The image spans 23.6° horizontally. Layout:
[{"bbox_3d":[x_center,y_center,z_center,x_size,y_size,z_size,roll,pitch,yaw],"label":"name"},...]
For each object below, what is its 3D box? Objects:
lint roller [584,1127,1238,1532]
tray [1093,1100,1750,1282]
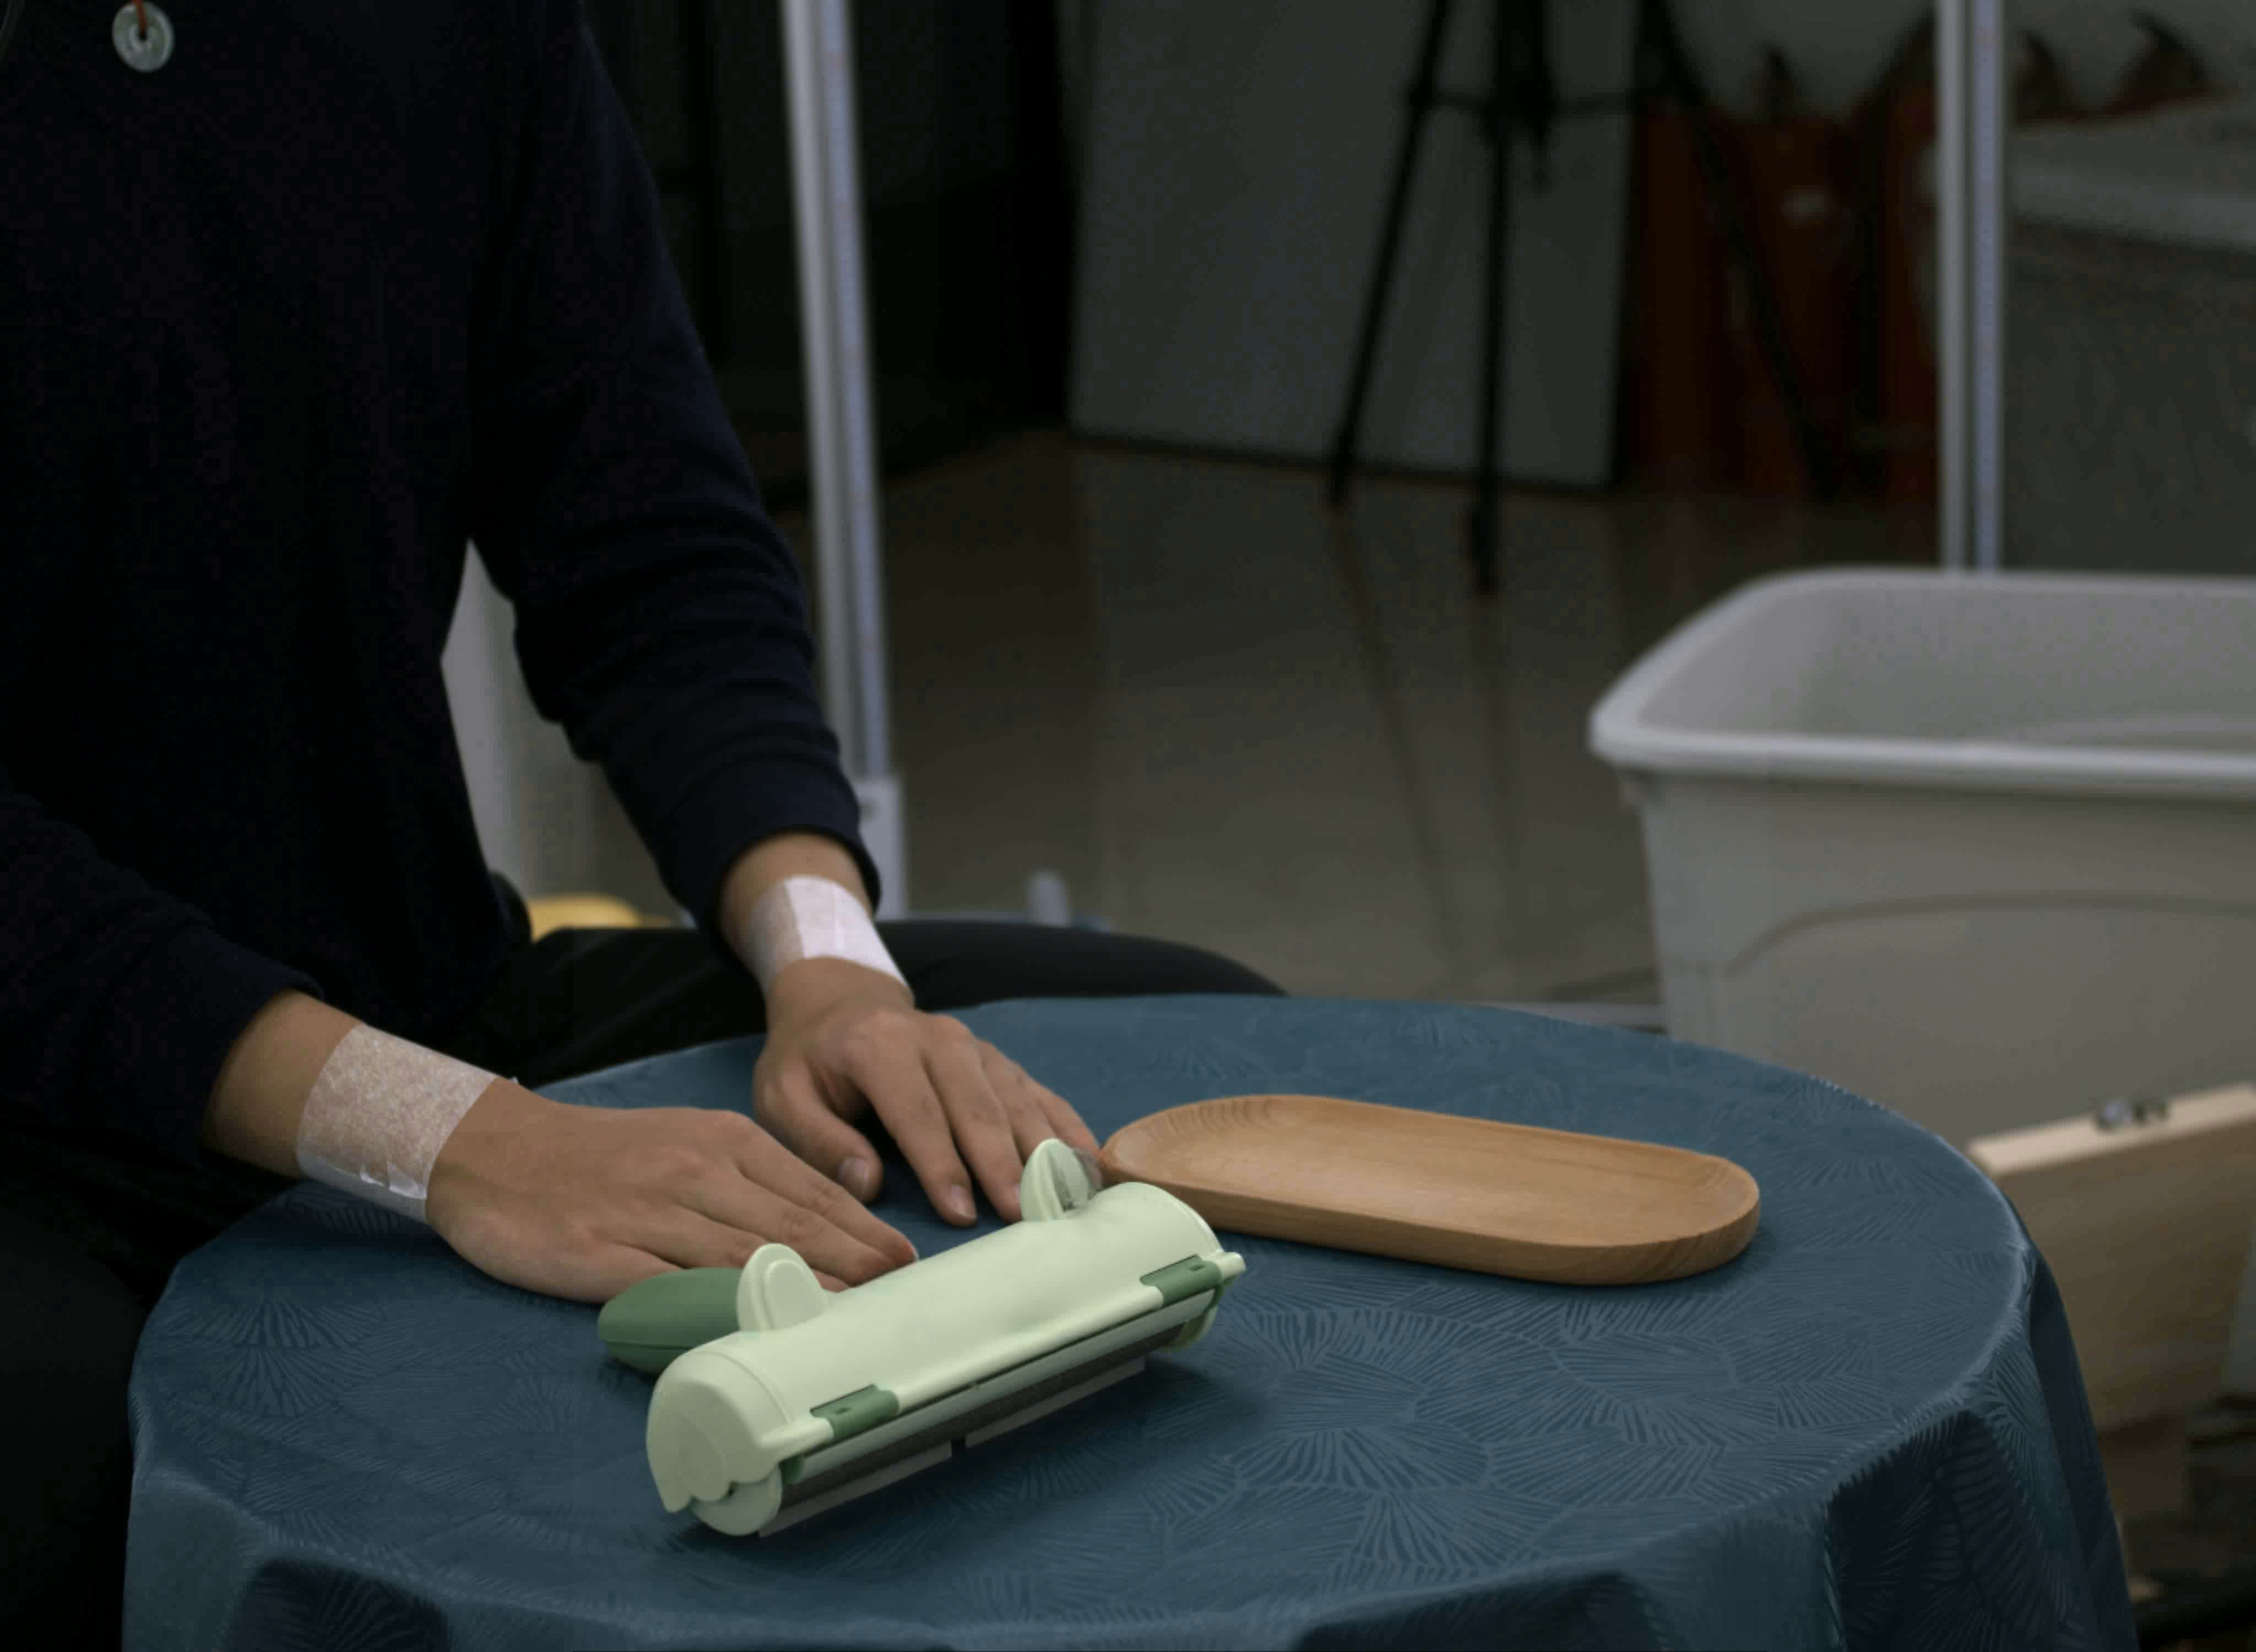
[{"bbox_3d":[-0.094,0.130,1.577,0.185,0.083,0.194,16,23,40],"label":"lint roller"},{"bbox_3d":[0.092,0.117,1.728,0.232,0.020,0.100,4,15,35],"label":"tray"}]
